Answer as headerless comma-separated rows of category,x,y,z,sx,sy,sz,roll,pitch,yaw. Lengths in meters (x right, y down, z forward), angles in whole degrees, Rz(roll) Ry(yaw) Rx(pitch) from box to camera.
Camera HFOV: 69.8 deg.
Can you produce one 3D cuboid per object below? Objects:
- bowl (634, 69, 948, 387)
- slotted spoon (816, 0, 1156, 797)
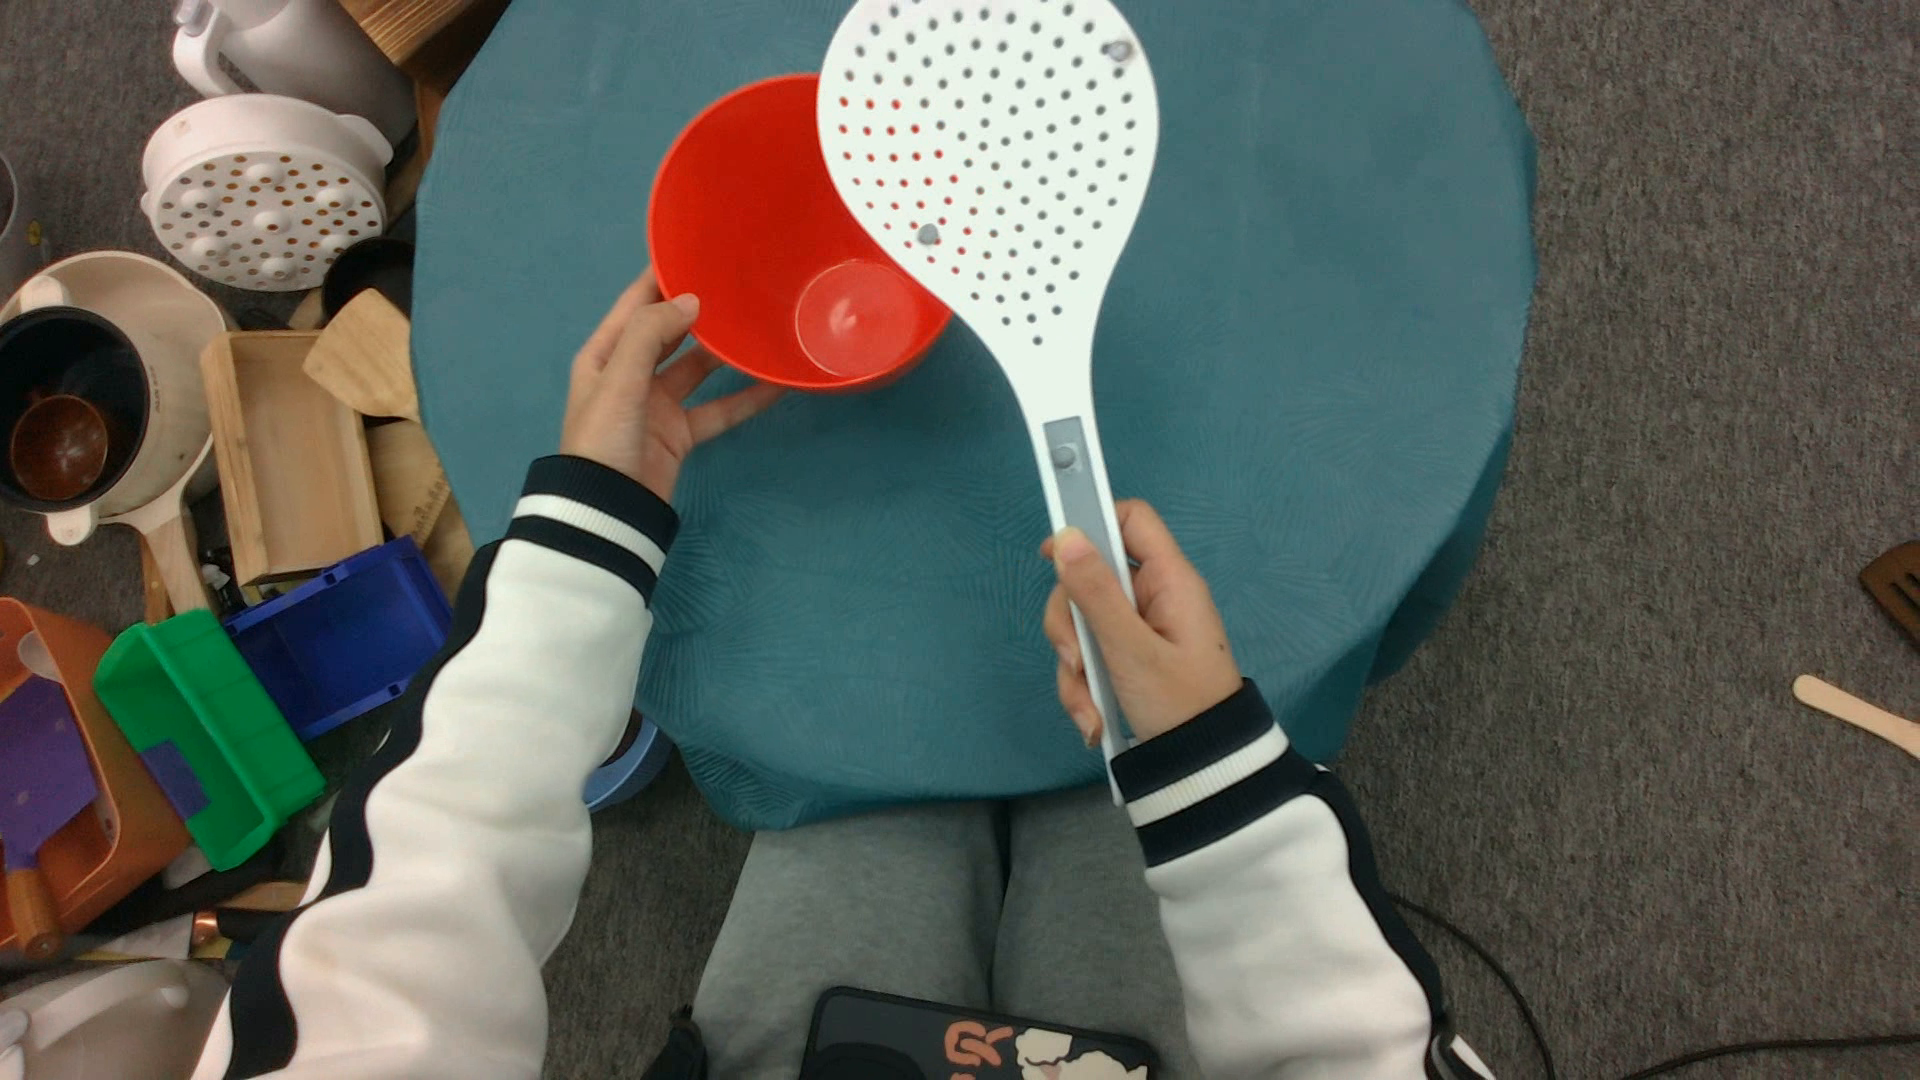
bowl,-0.073,-0.137,0.669,0.148,0.104,0.148,0,75,1
slotted spoon,0.032,-0.069,0.559,0.136,0.045,0.350,-12,85,-4
